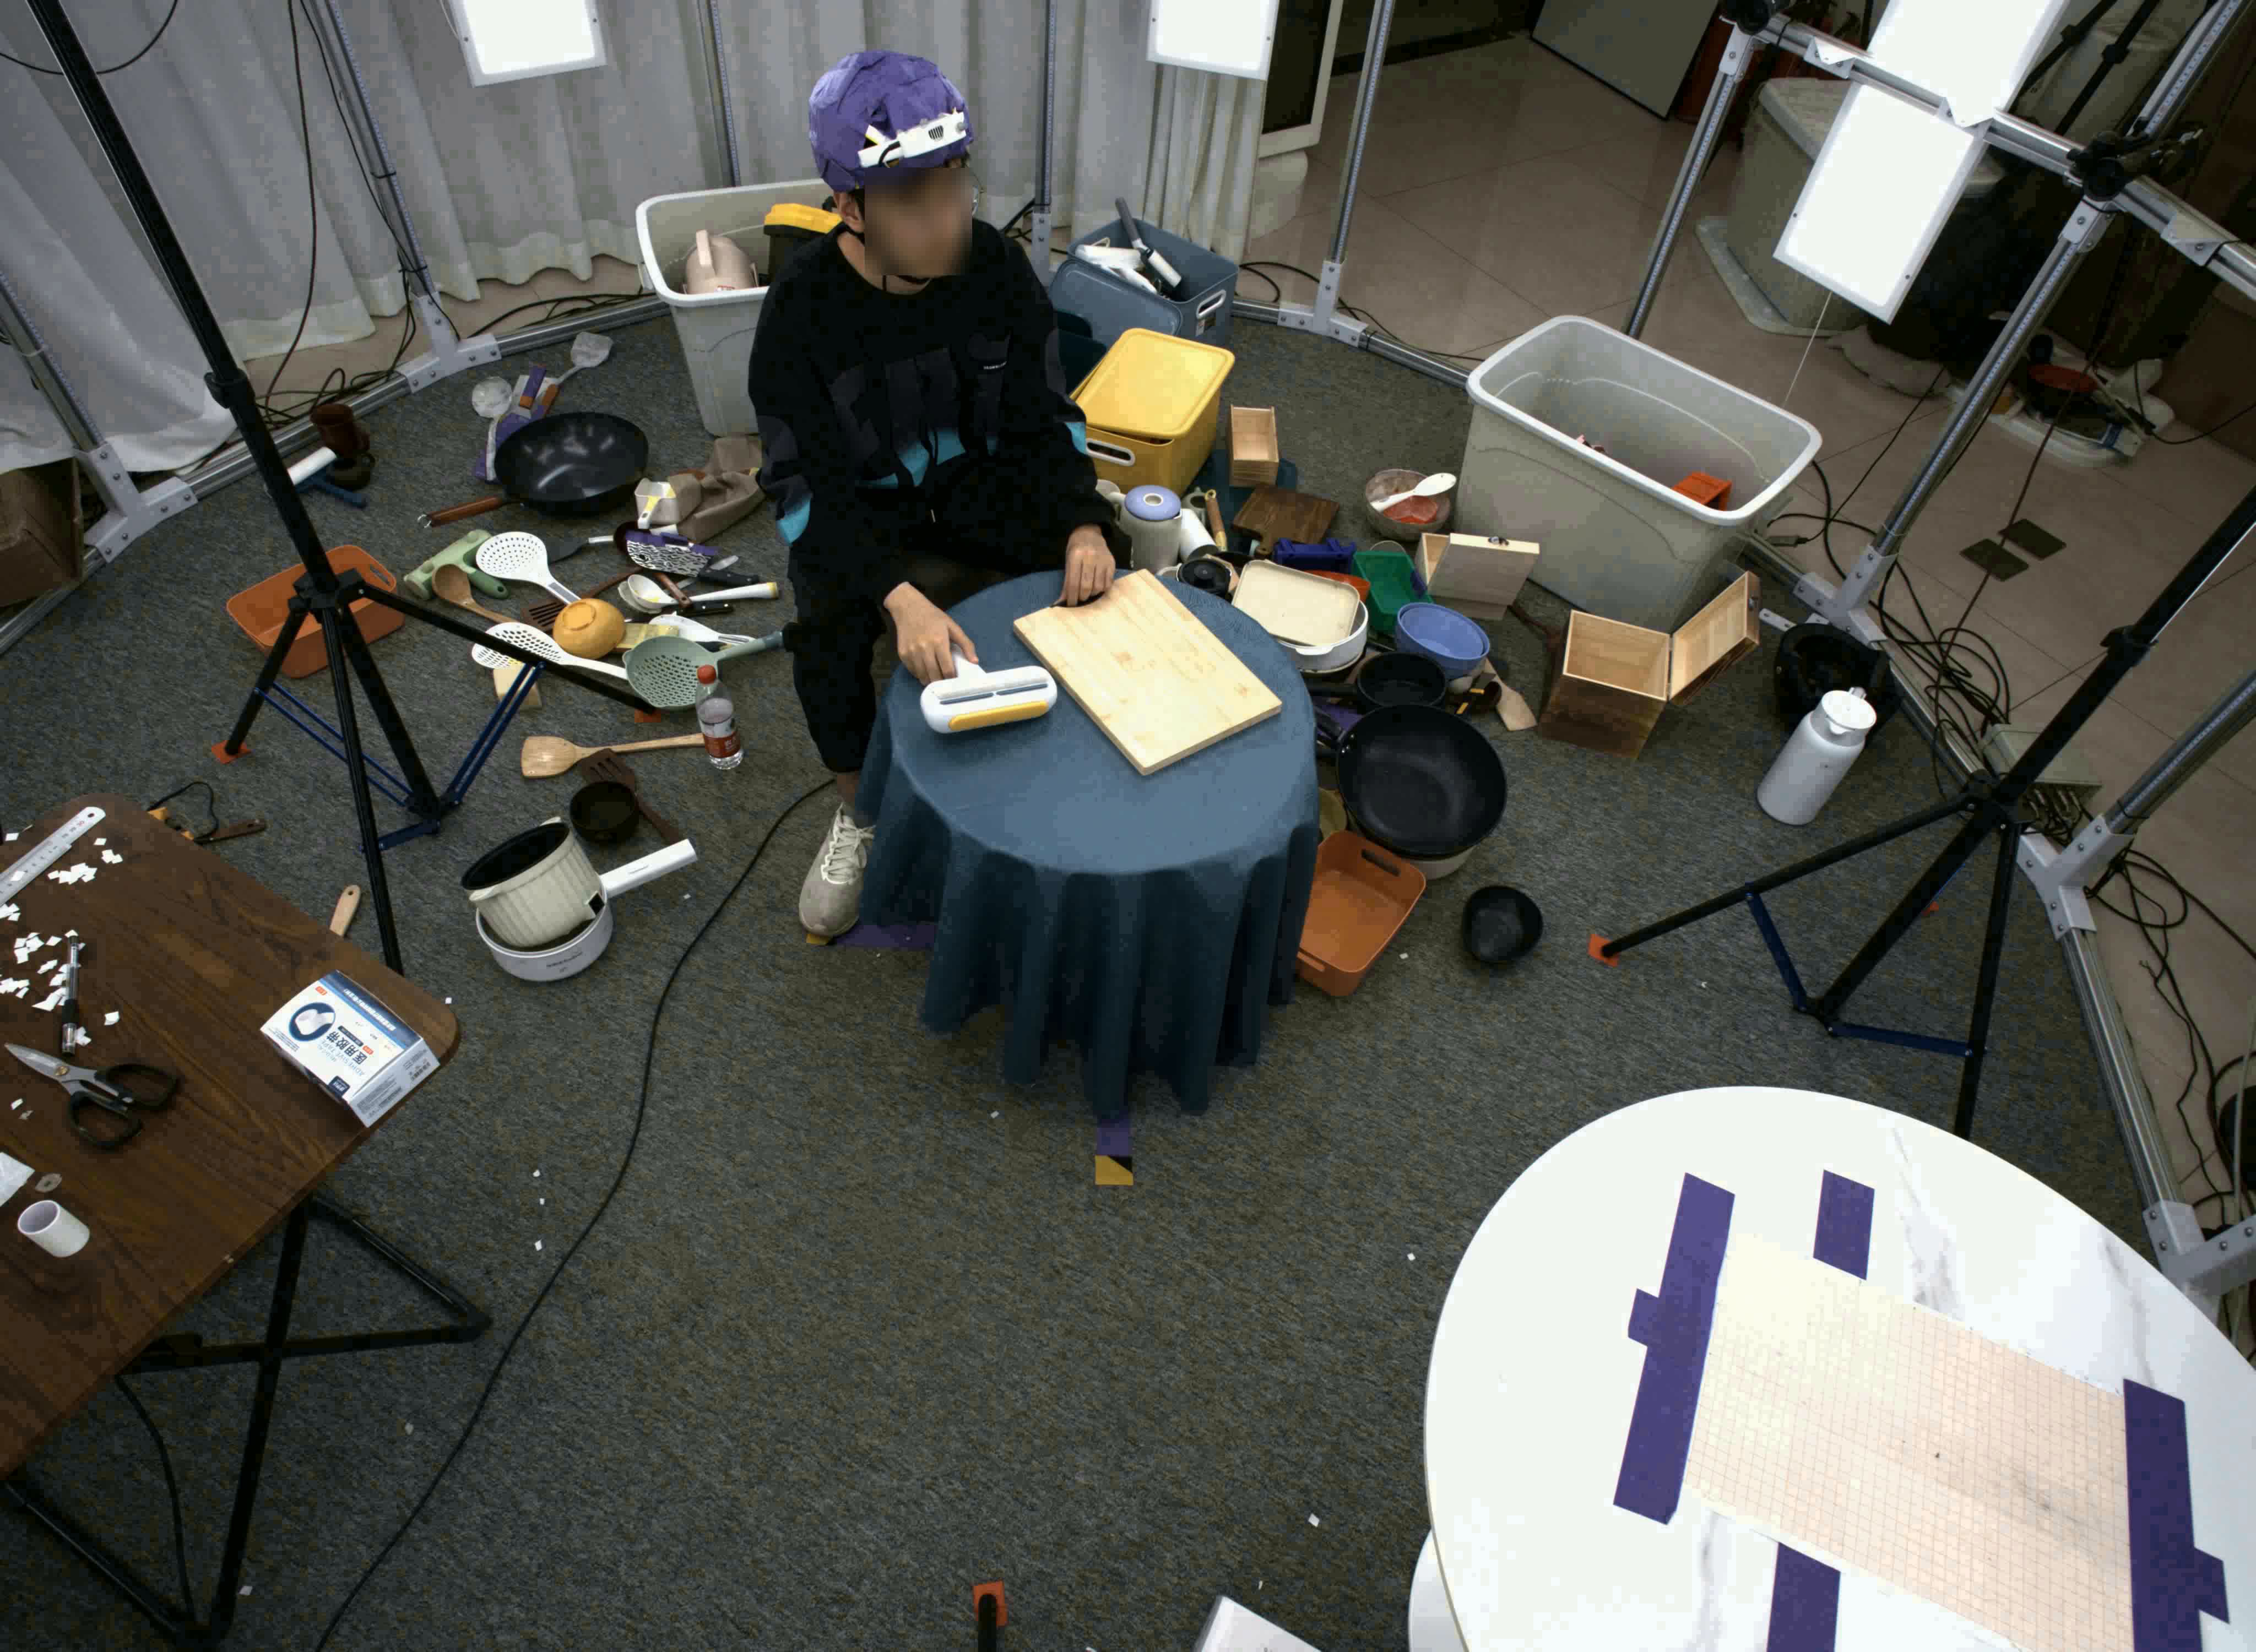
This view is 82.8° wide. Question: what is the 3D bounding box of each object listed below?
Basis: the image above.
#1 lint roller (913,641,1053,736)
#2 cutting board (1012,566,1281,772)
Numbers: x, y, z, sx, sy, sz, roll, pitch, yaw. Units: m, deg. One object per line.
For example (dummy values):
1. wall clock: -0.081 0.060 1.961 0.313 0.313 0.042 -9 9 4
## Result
1. lint roller: -0.219 -0.207 1.790 0.193 0.072 0.197 -13 49 -21
2. cutting board: 0.022 -0.236 1.864 0.252 0.023 0.355 -26 55 -24
